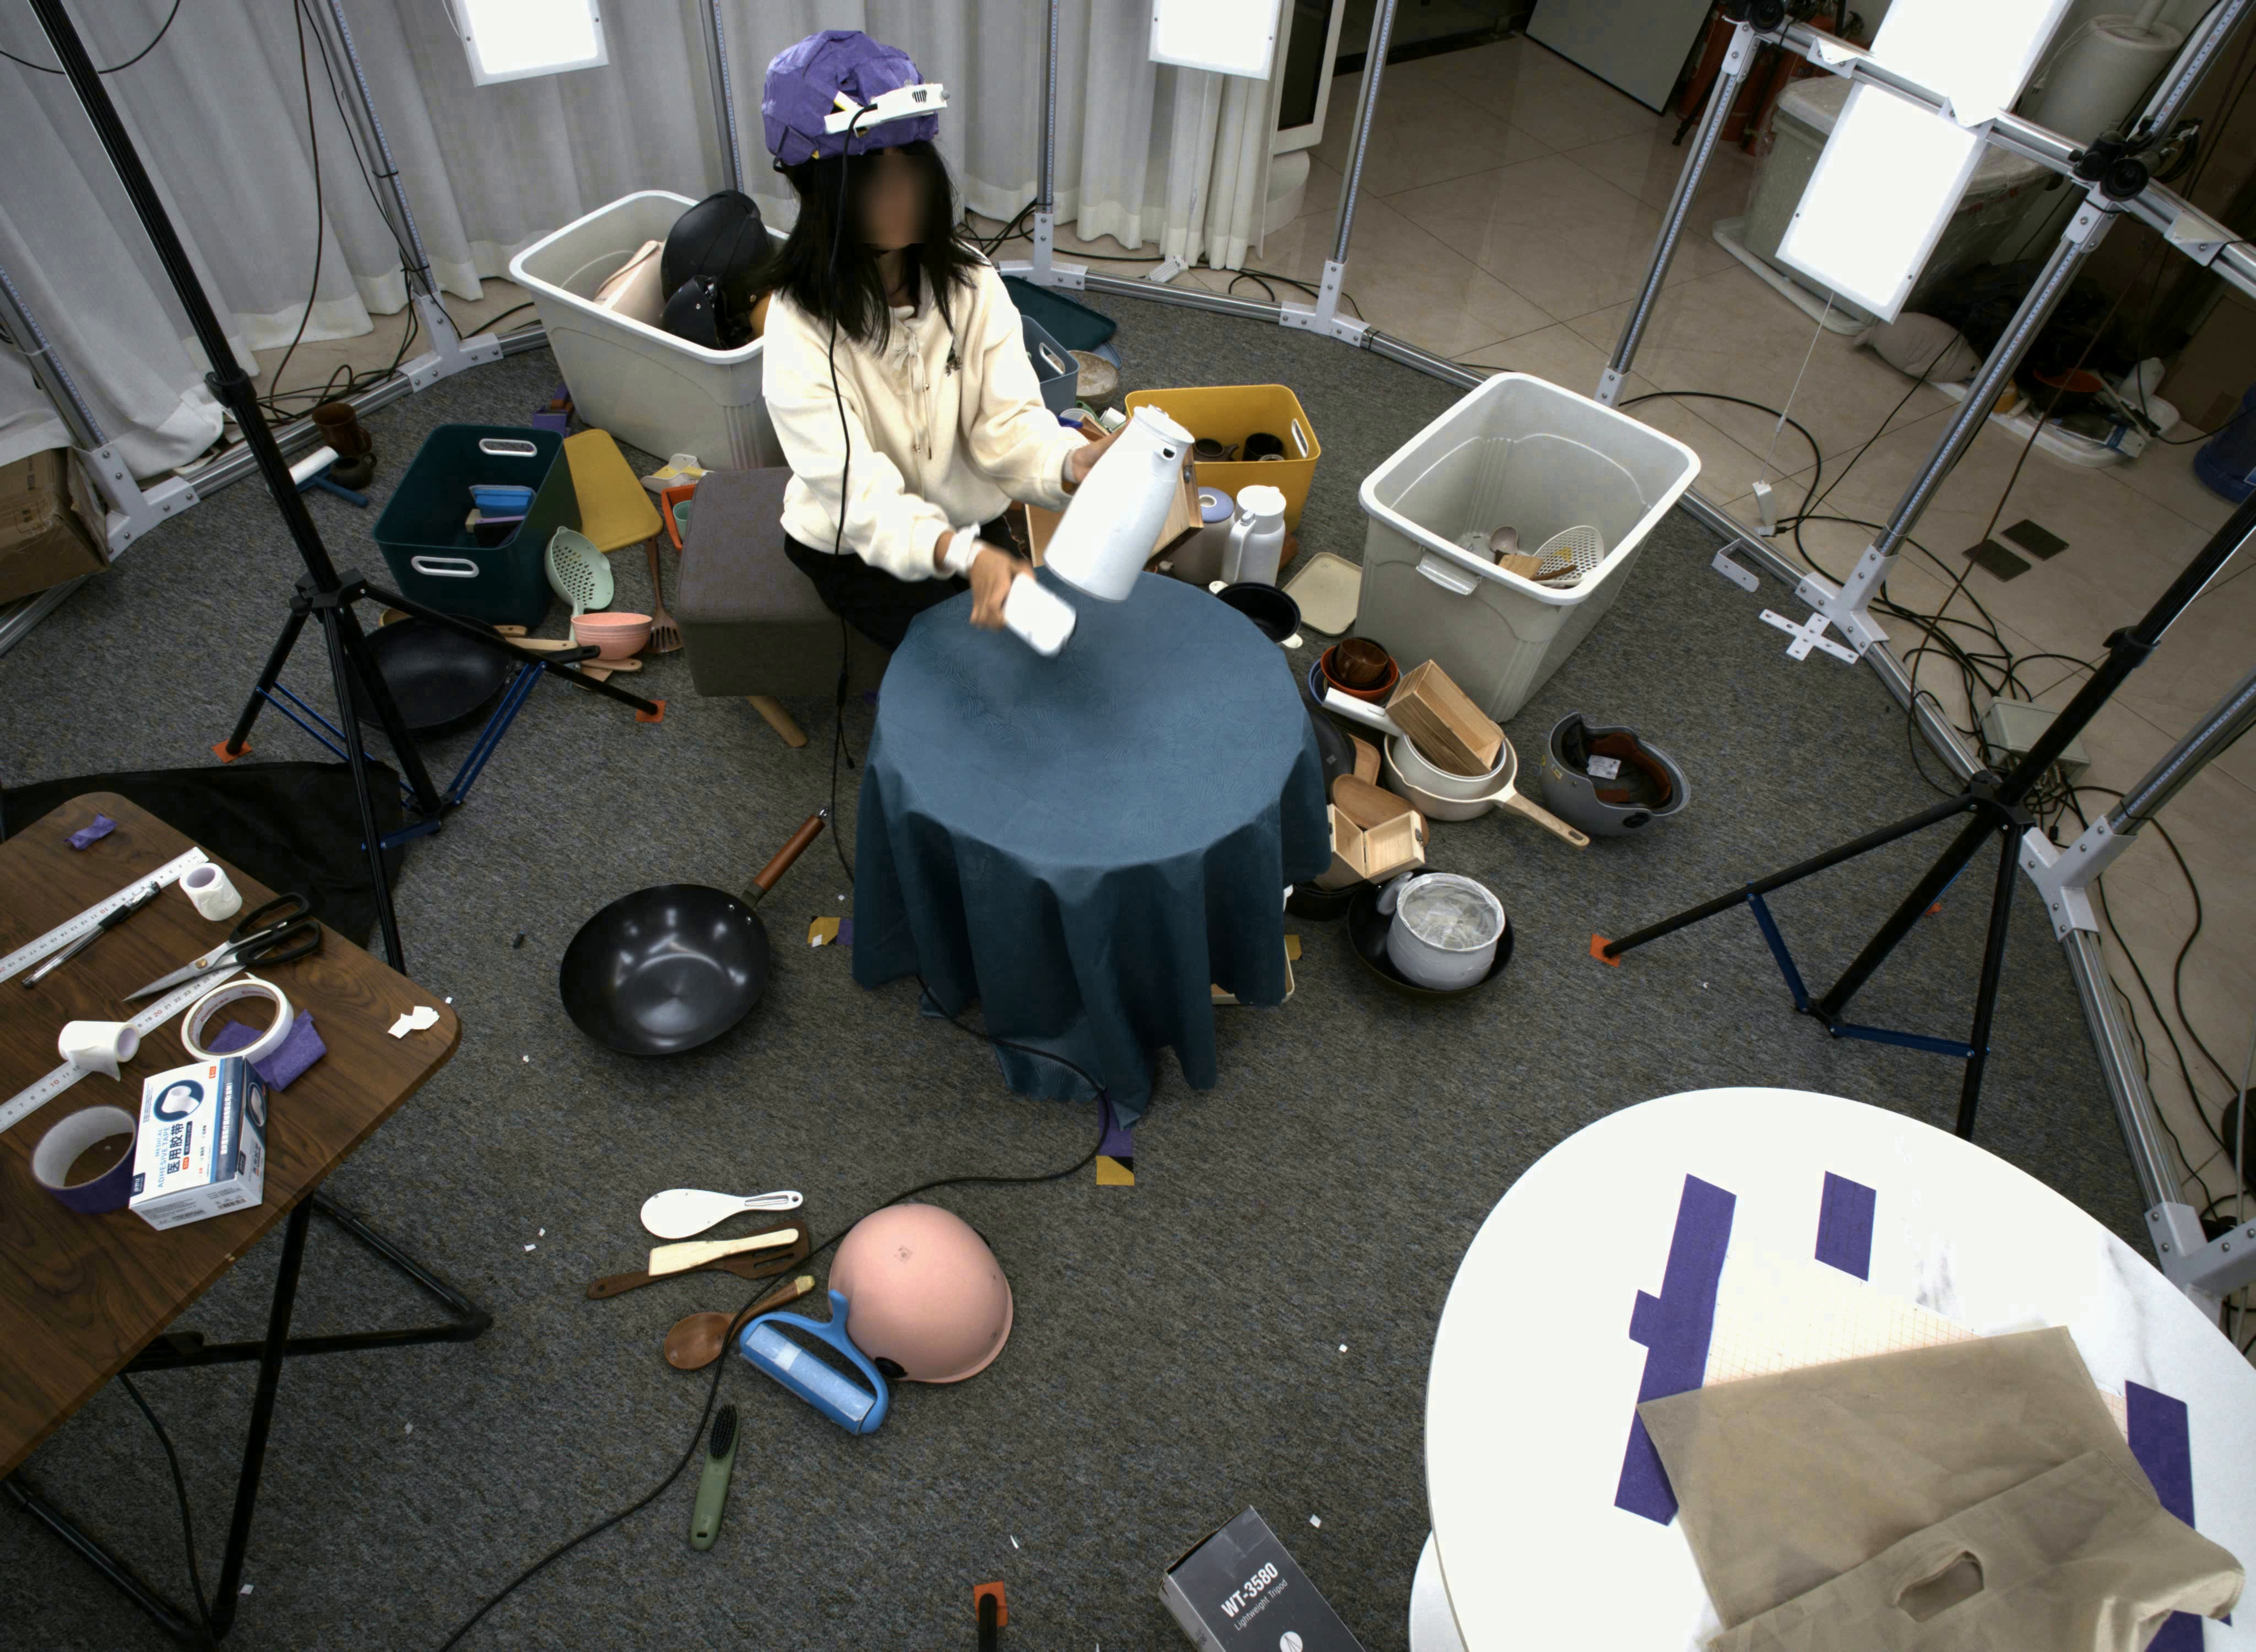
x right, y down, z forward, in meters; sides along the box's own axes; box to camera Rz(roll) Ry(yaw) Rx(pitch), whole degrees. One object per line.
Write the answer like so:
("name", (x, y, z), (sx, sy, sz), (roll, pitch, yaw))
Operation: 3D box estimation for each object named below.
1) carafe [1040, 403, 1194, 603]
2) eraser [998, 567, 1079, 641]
("carafe", (-0.012, -0.456, 1.771), (0.131, 0.245, 0.171), (18, 26, -26))
("eraser", (-0.120, -0.299, 1.724), (0.134, 0.034, 0.063), (40, 99, 39))
